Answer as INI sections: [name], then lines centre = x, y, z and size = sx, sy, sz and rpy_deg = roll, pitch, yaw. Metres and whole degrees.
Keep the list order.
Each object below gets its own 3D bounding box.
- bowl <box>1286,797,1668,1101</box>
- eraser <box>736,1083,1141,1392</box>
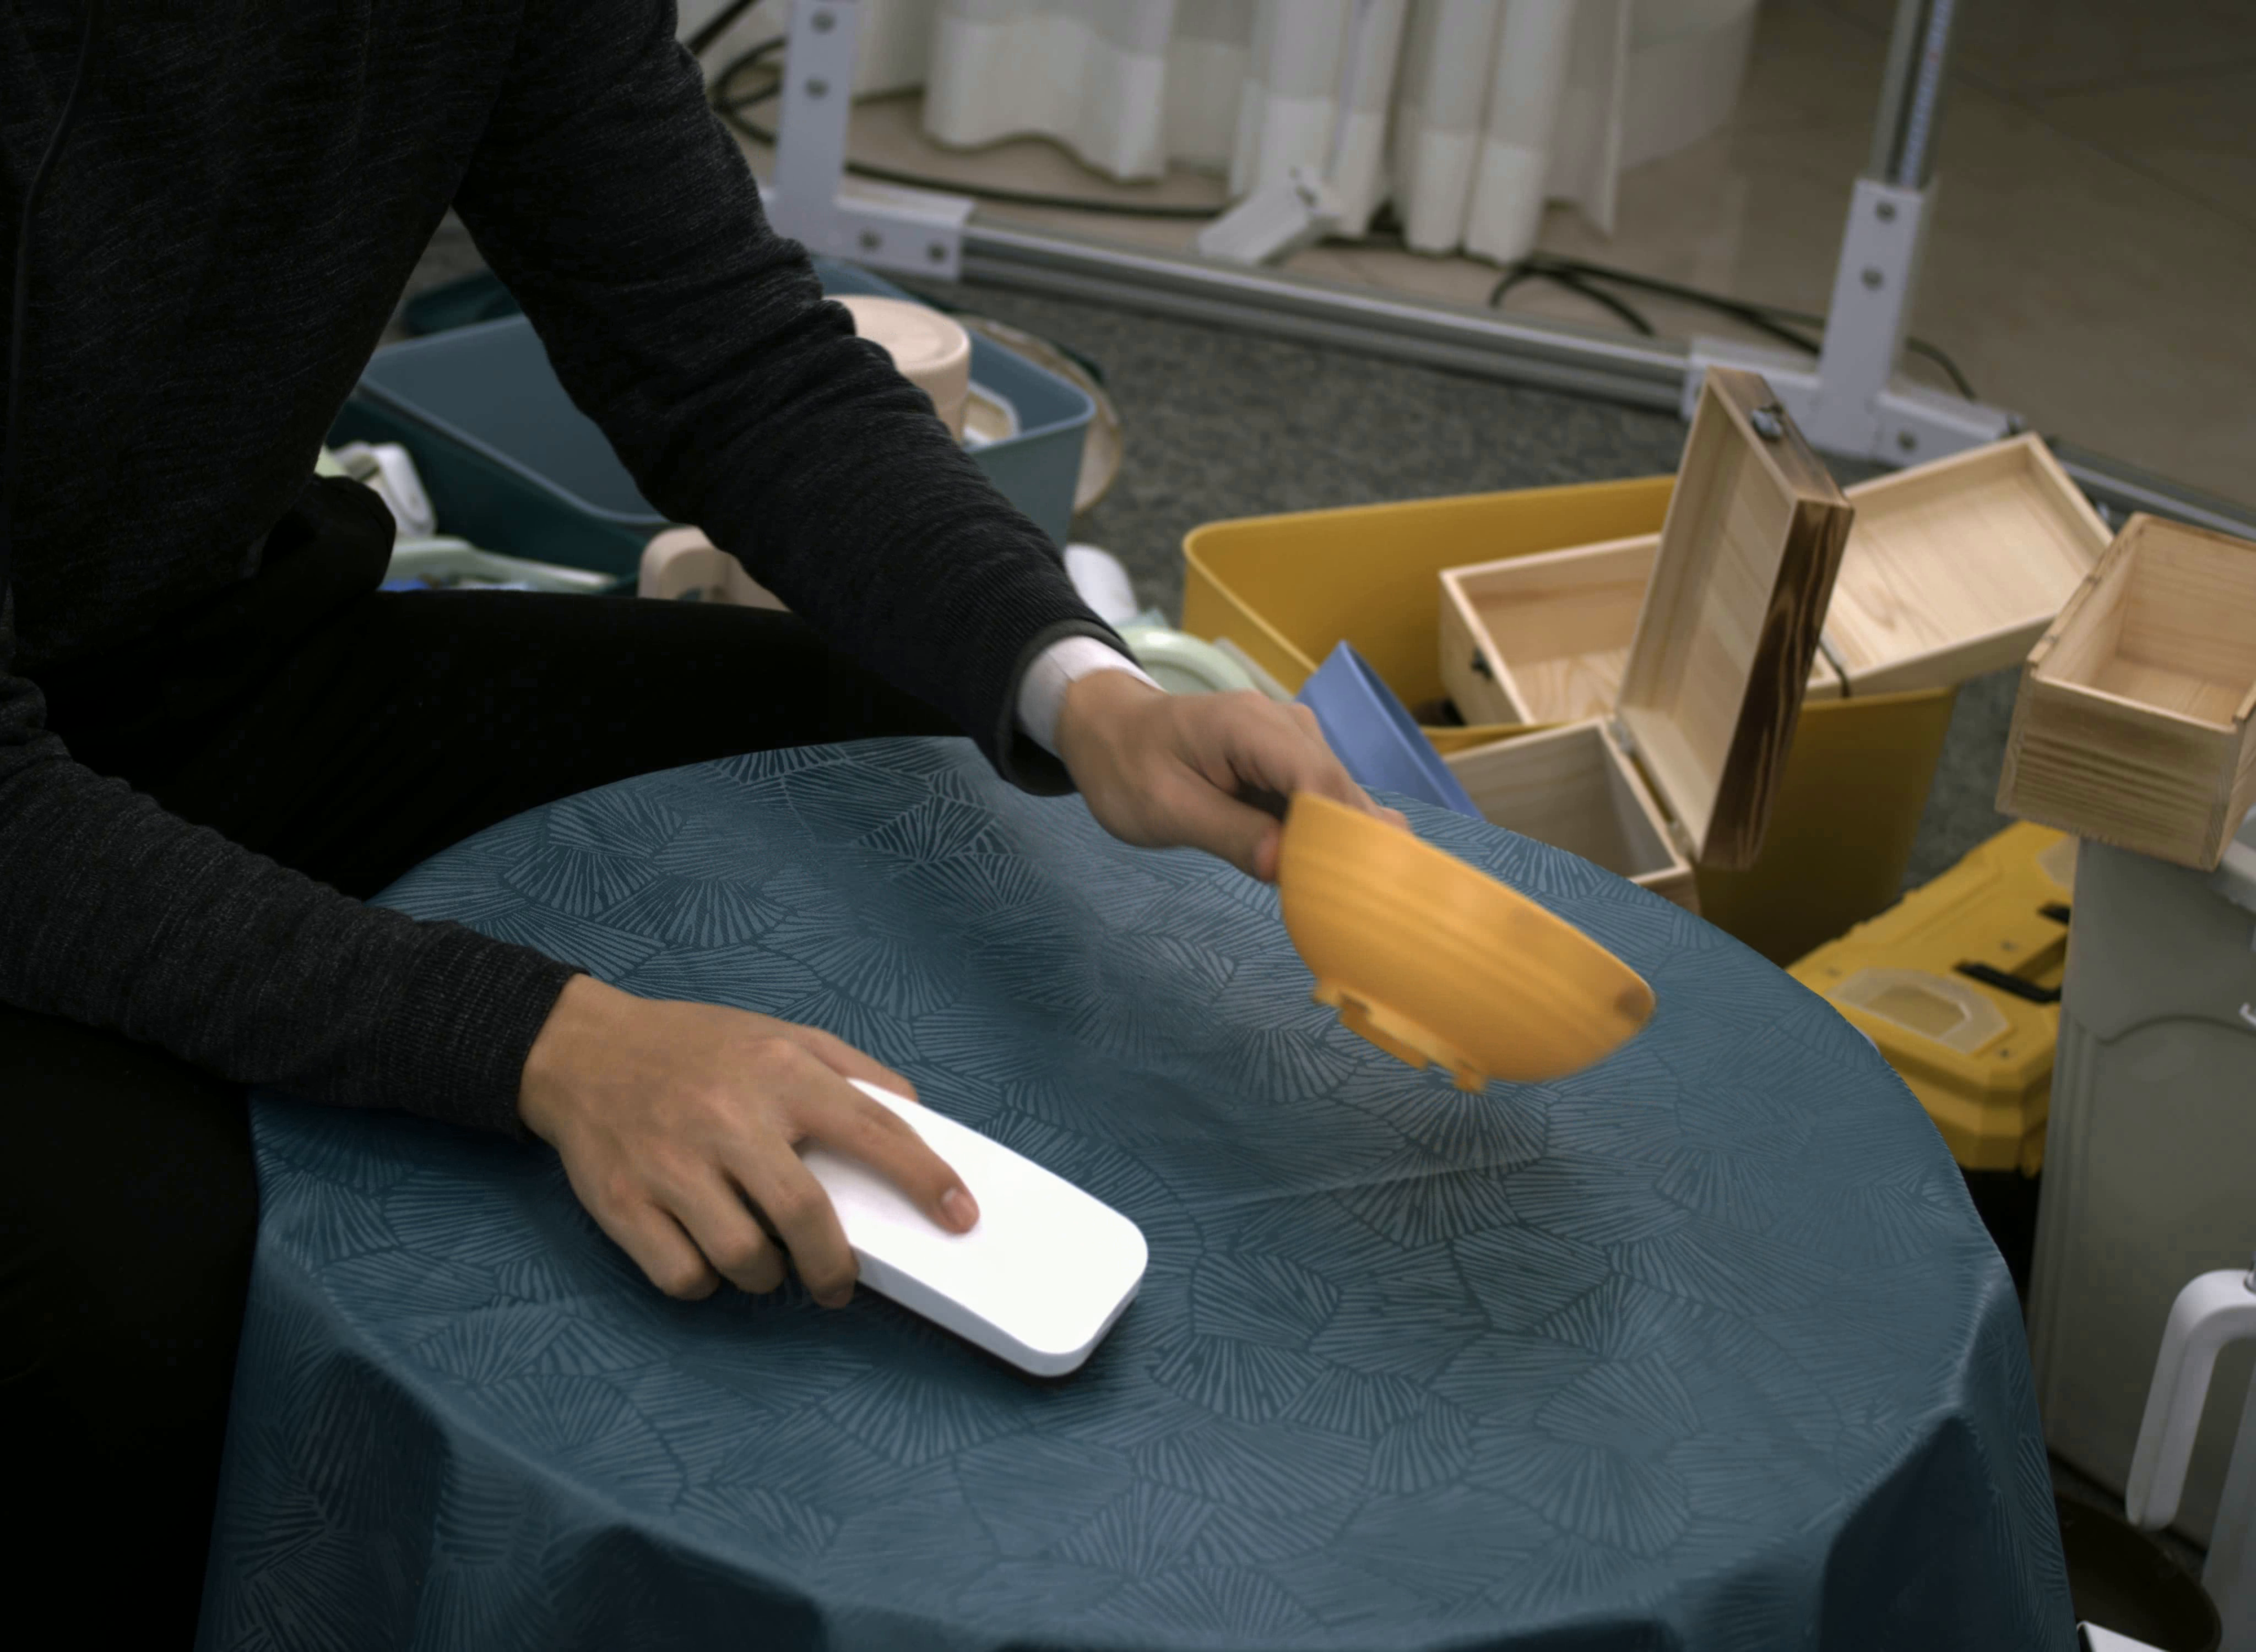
[bowl]
centre = 0.107, 0.052, 1.807
size = 0.145, 0.060, 0.145
rpy_deg = 30, -4, 2
[eraser]
centre = -0.061, 0.130, 1.712
size = 0.132, 0.034, 0.063
rpy_deg = 28, 50, 20
